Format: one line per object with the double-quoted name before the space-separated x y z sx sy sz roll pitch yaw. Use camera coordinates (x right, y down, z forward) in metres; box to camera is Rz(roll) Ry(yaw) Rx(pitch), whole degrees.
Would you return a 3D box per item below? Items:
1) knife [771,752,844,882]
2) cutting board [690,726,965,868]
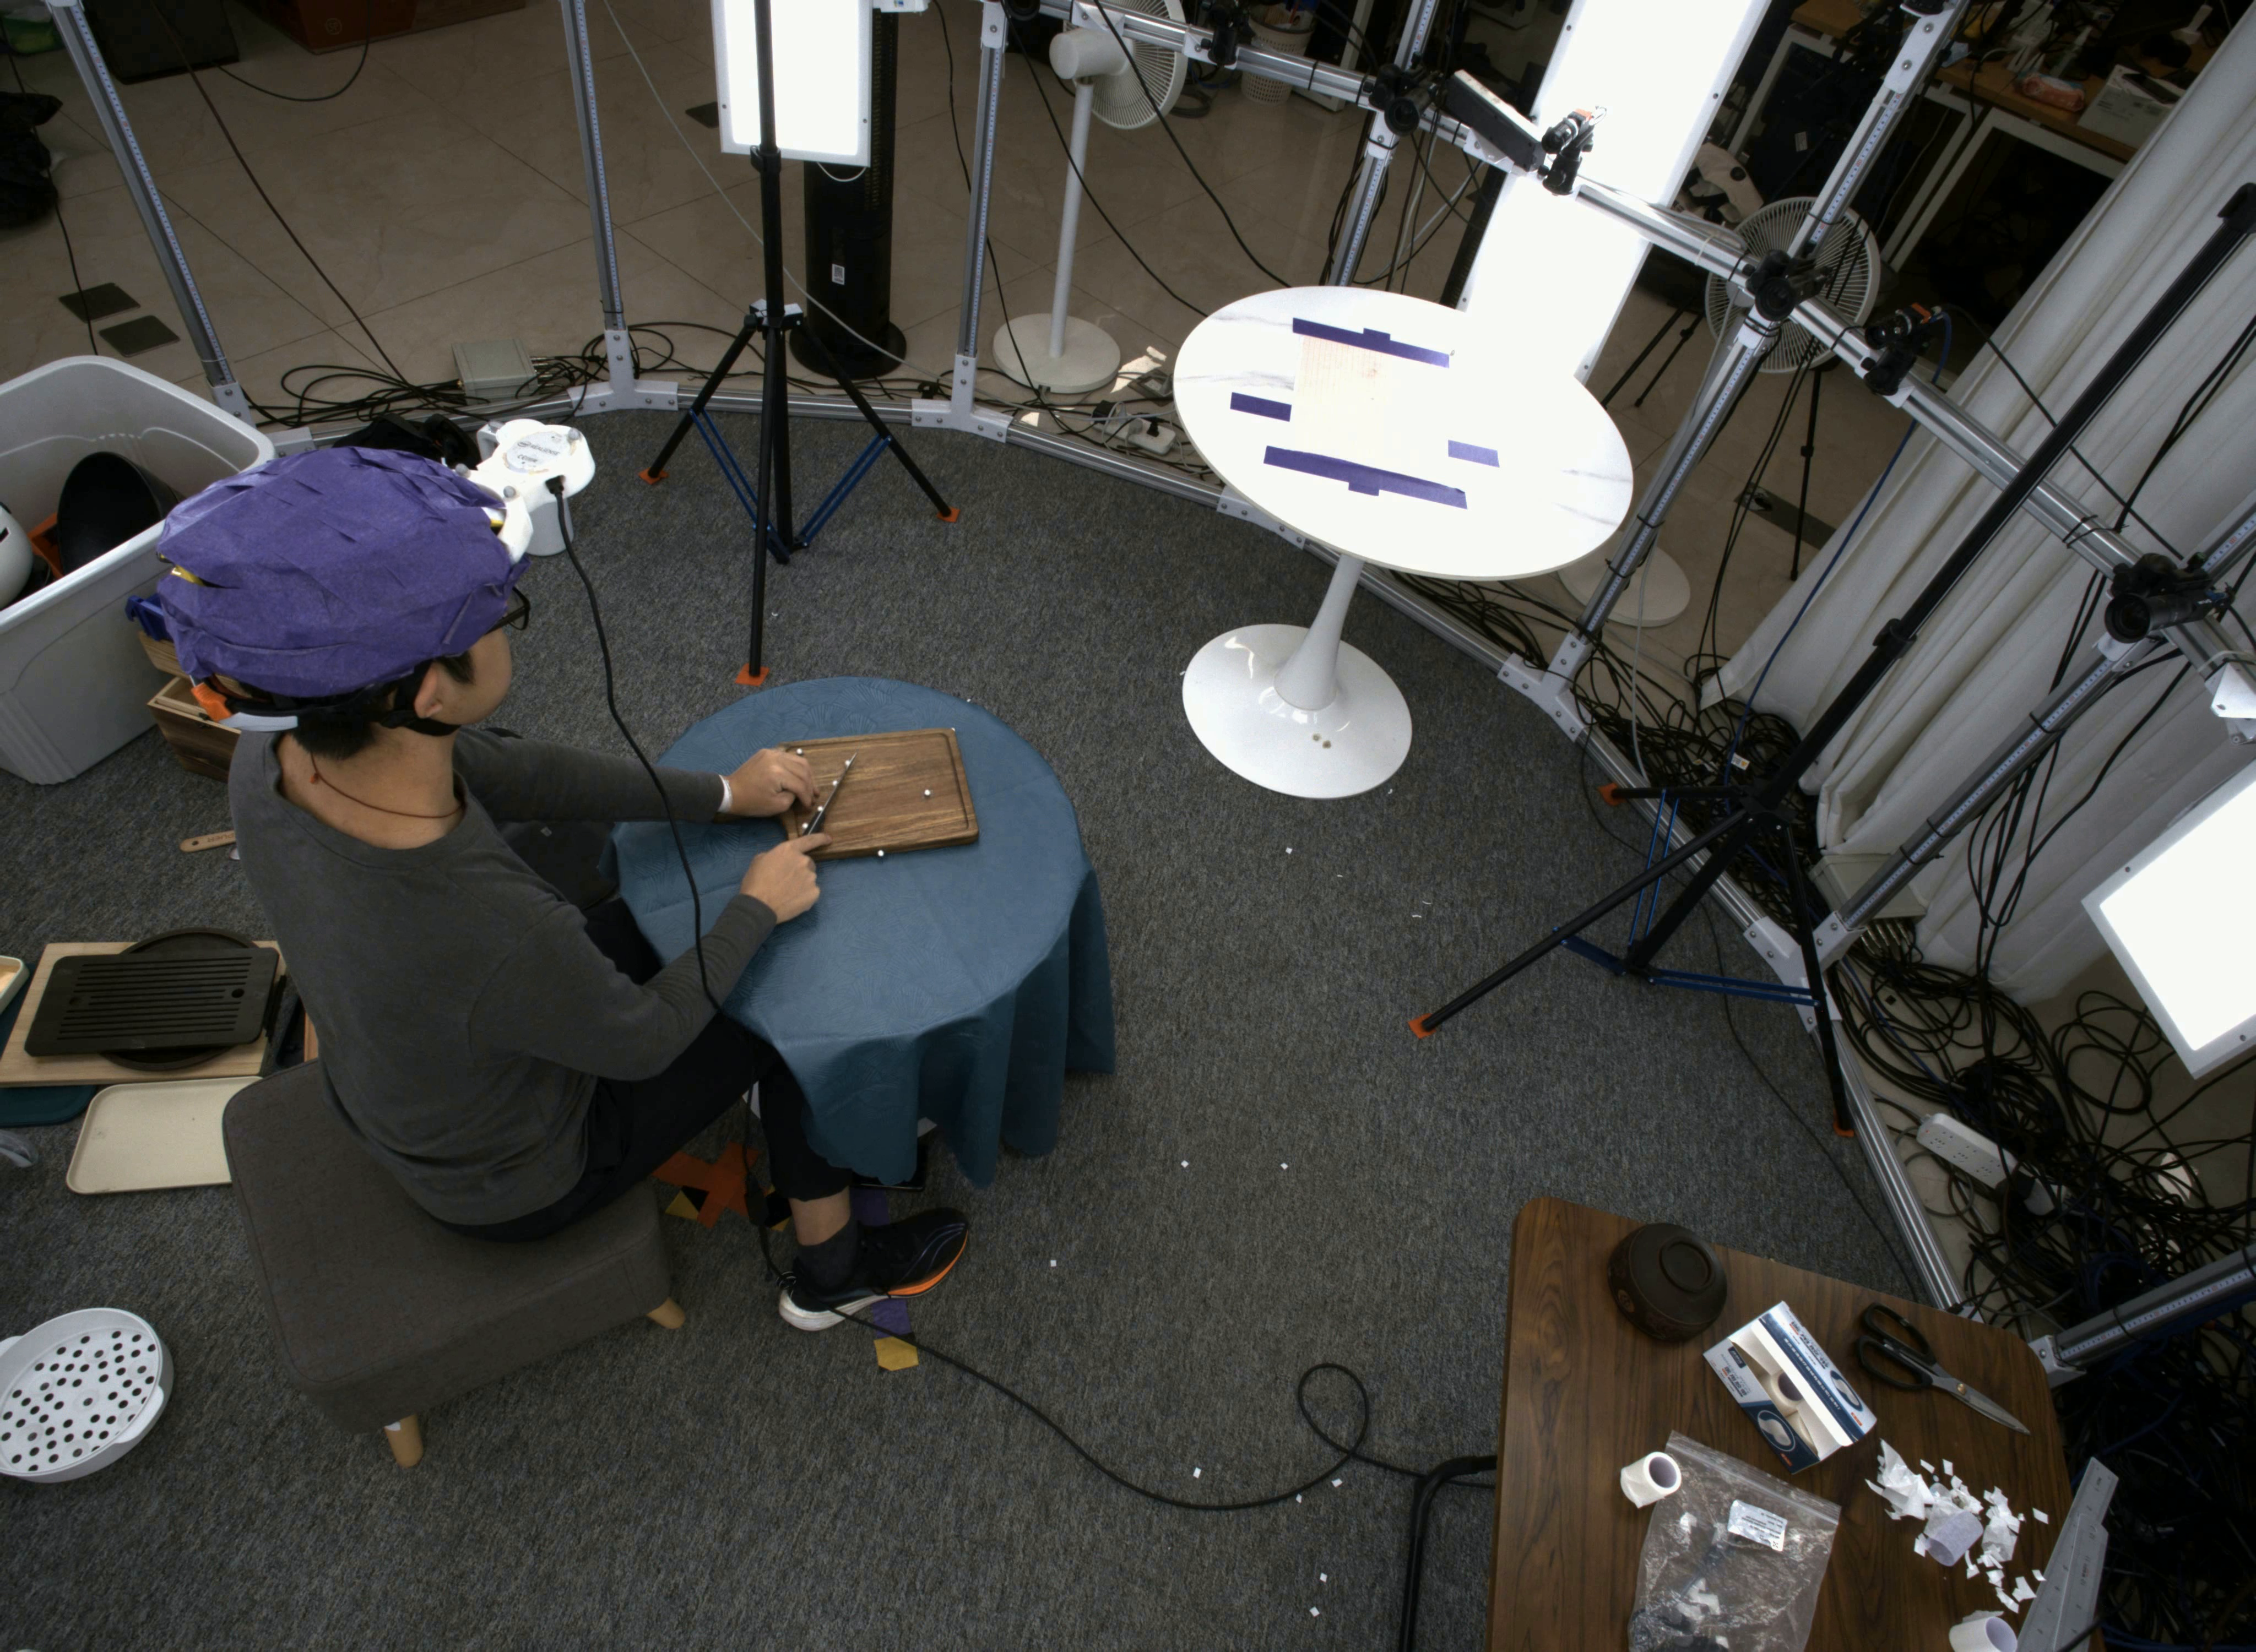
"knife" -0.419 -0.020 1.712 0.016 0.025 0.235 18 48 0
"cutting board" -0.411 -0.039 1.754 0.353 0.023 0.196 -8 56 -19
